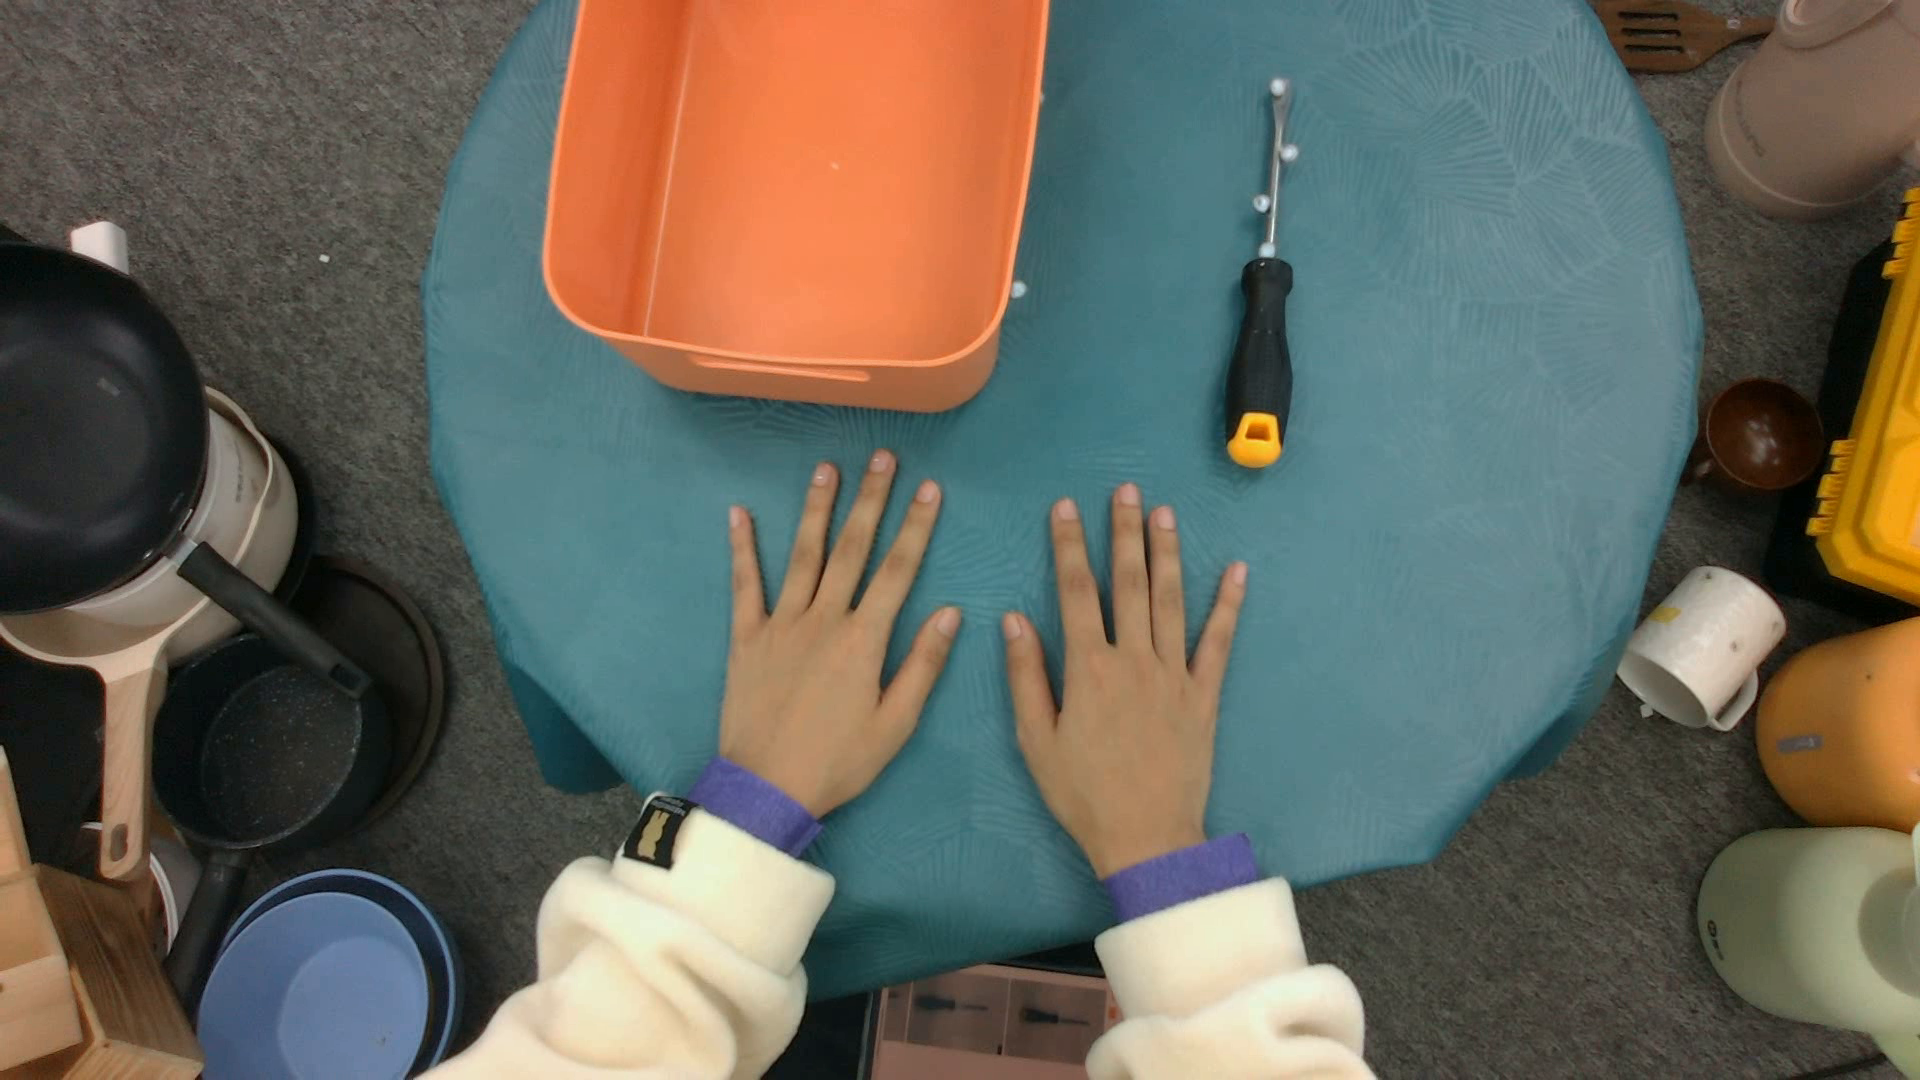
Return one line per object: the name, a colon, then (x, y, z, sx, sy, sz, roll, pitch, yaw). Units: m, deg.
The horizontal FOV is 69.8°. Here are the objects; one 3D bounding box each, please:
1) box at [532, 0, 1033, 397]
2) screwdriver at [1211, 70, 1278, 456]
box: (-0.069, -0.199, 0.621, 0.199, 0.102, 0.274, 5, 77, 2)
screwdriver: (0.140, -0.133, 0.643, 0.031, 0.031, 0.198, 9, 74, 4)
